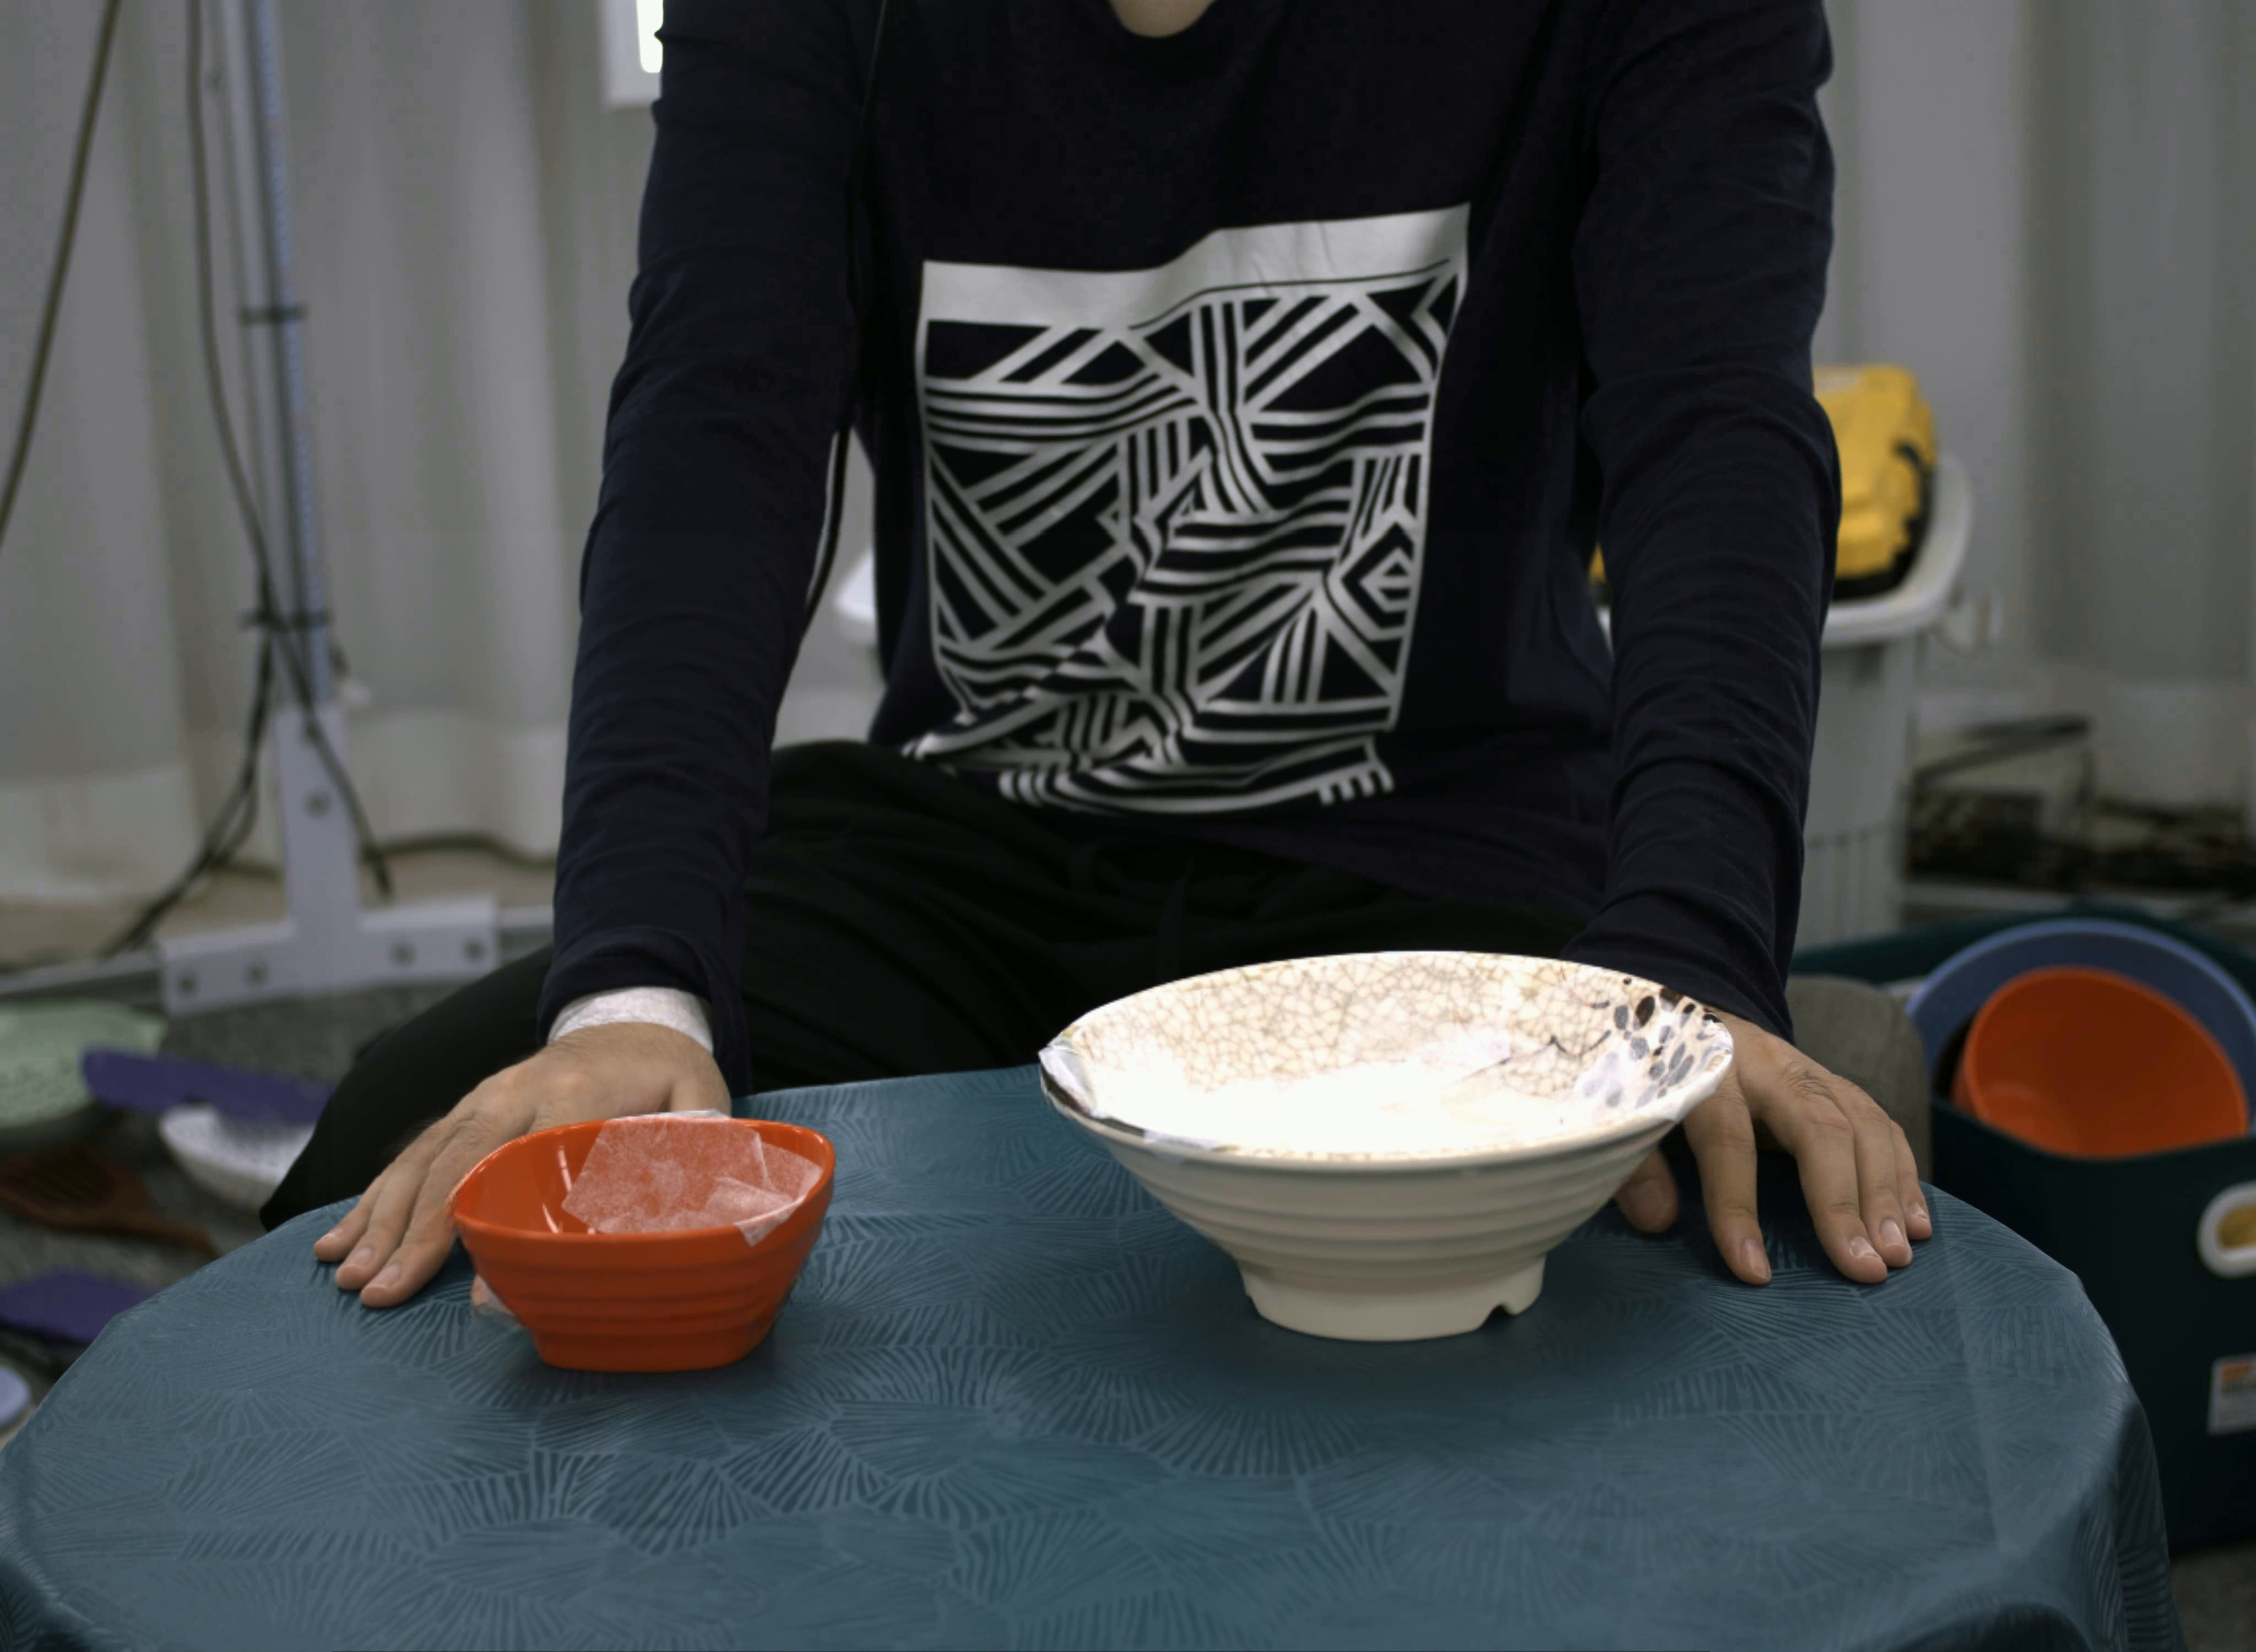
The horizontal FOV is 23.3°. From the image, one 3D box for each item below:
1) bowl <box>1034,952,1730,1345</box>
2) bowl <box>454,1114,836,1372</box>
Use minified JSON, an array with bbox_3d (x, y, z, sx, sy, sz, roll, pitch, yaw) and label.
[{"bbox_3d":[0.075,0.102,1.605,0.203,0.077,0.205,-2,14,0],"label":"bowl"},{"bbox_3d":[-0.139,0.125,1.605,0.118,0.051,0.120,-4,15,1],"label":"bowl"}]
